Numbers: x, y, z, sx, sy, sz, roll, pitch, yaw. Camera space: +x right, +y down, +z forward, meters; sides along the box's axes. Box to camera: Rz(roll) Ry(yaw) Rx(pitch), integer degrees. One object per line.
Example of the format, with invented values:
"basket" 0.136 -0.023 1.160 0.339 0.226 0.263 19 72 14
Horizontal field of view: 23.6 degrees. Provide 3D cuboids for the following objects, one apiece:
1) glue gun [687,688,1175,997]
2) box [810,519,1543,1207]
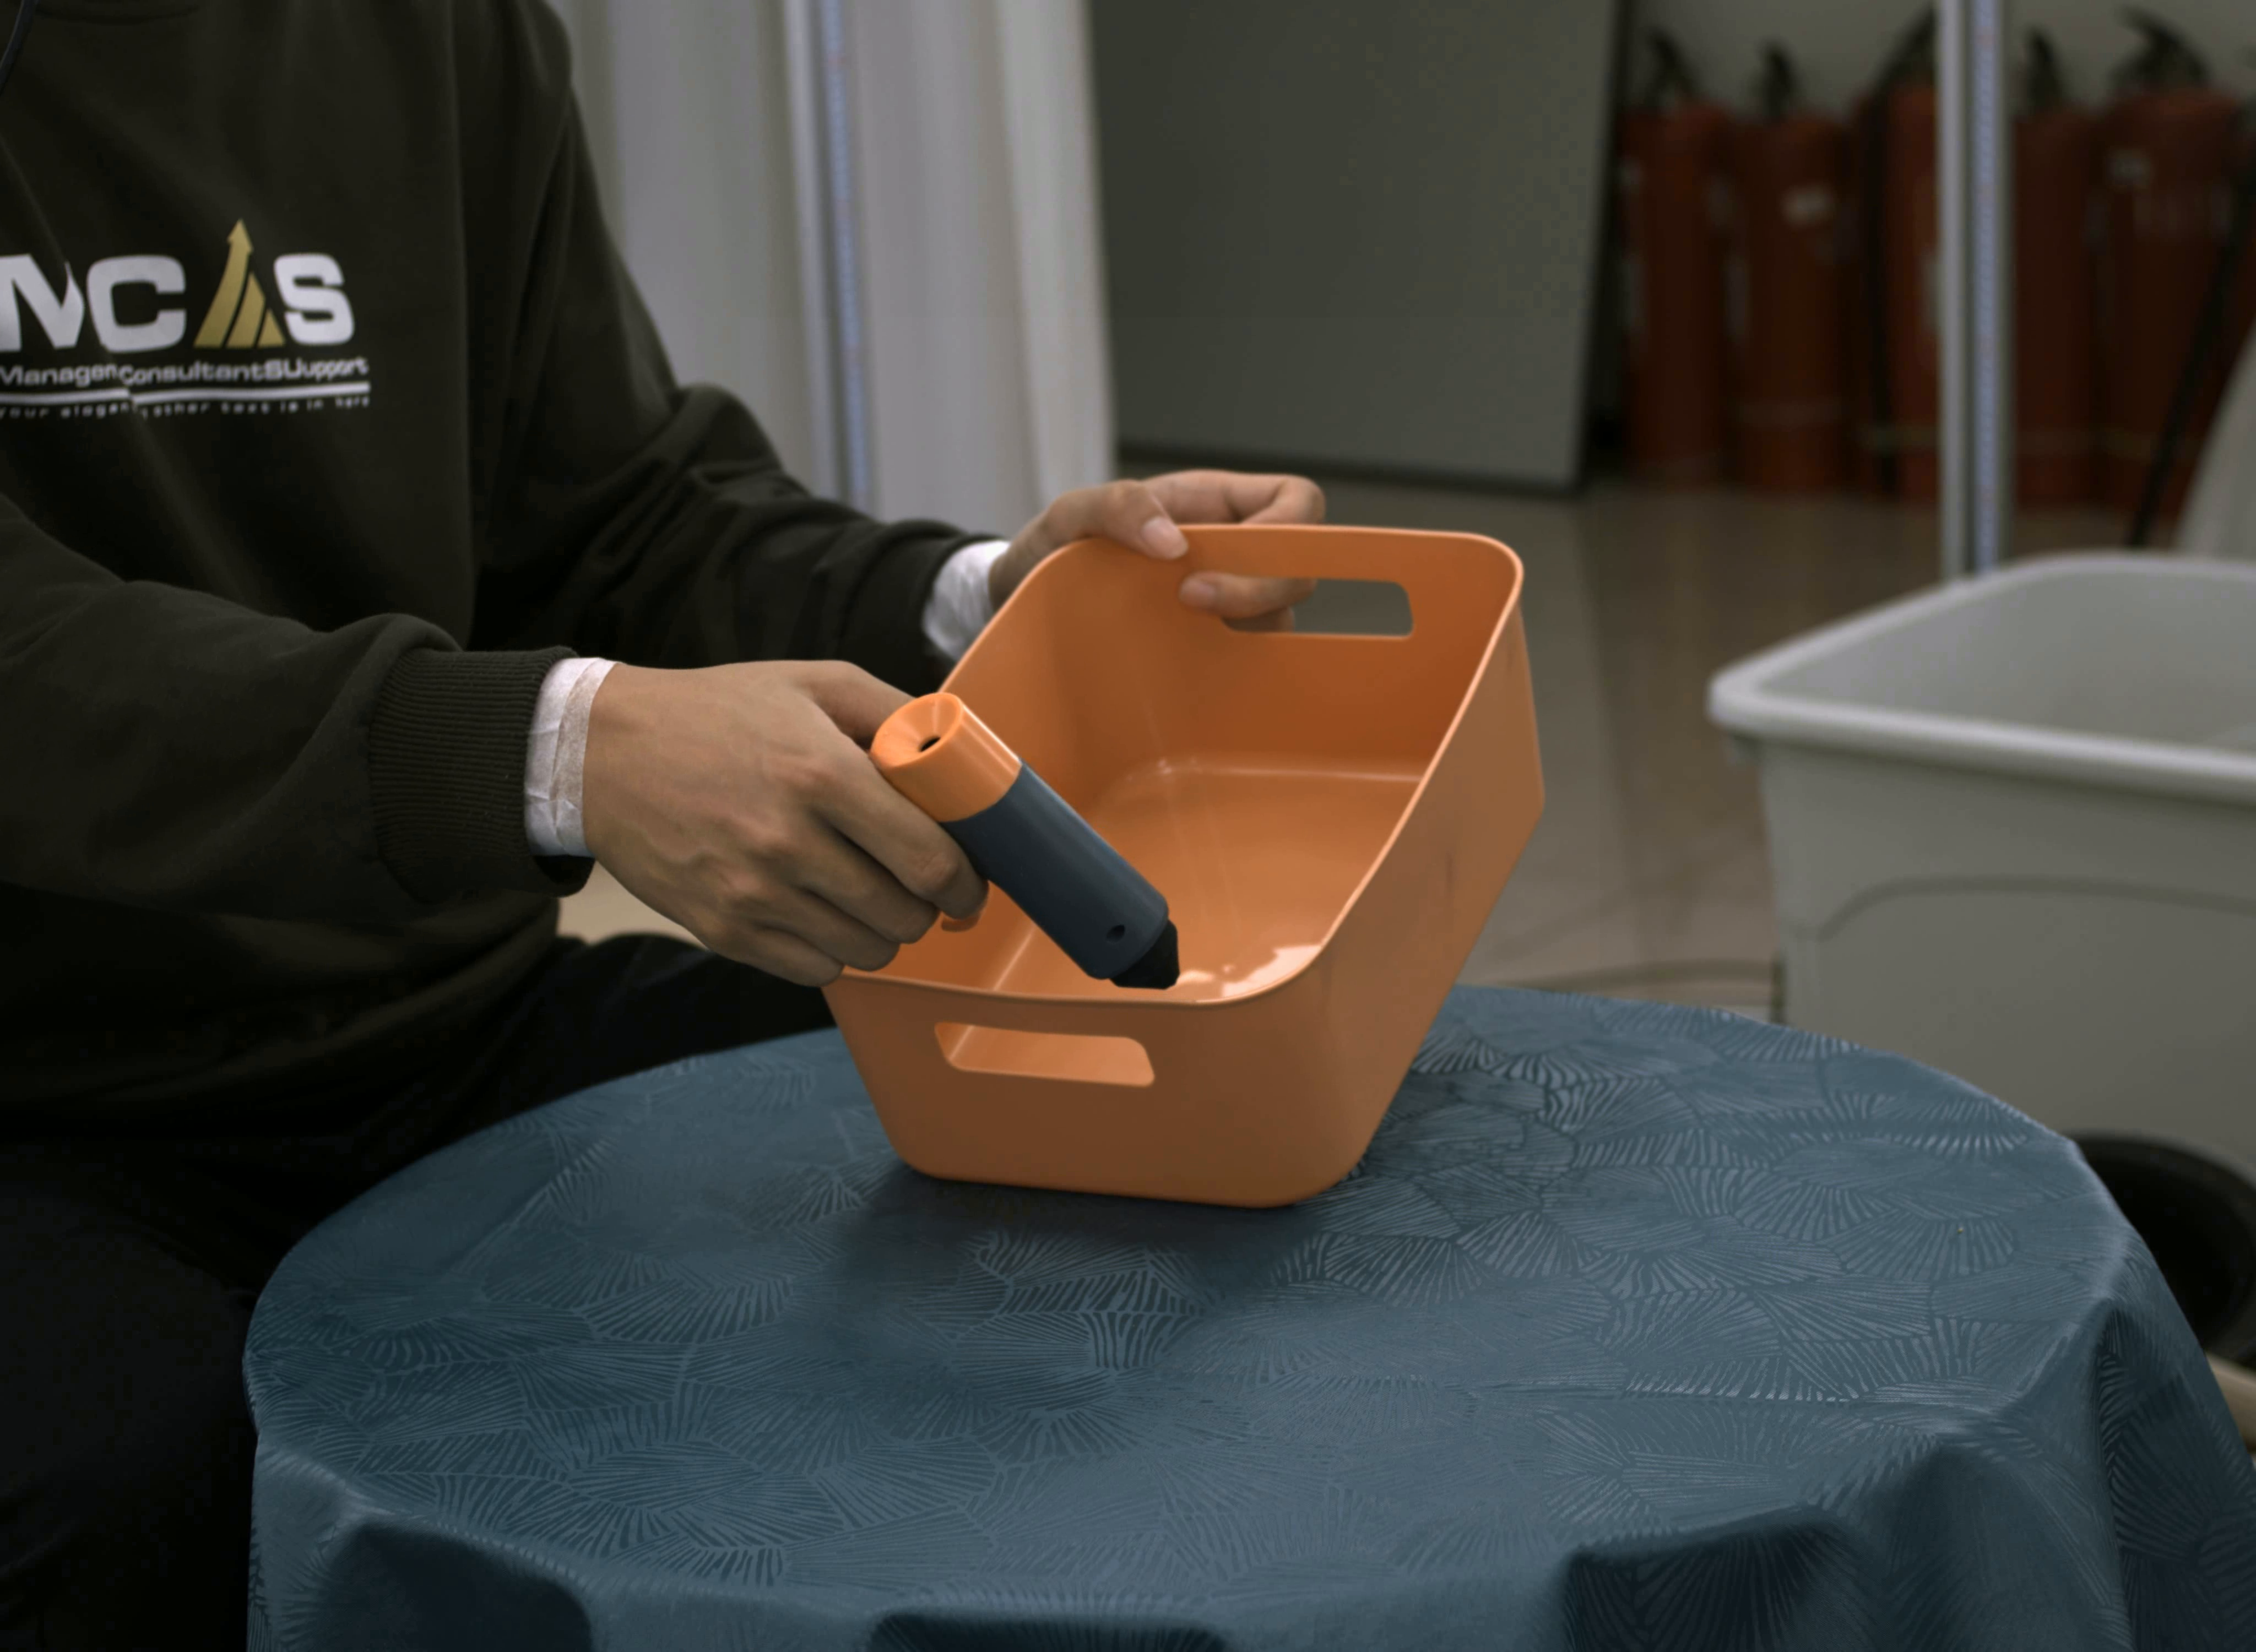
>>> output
"glue gun" -0.060 0.013 1.687 0.140 0.117 0.041 -5 40 37
"box" 0.023 0.013 1.838 0.200 0.103 0.272 1 37 26
